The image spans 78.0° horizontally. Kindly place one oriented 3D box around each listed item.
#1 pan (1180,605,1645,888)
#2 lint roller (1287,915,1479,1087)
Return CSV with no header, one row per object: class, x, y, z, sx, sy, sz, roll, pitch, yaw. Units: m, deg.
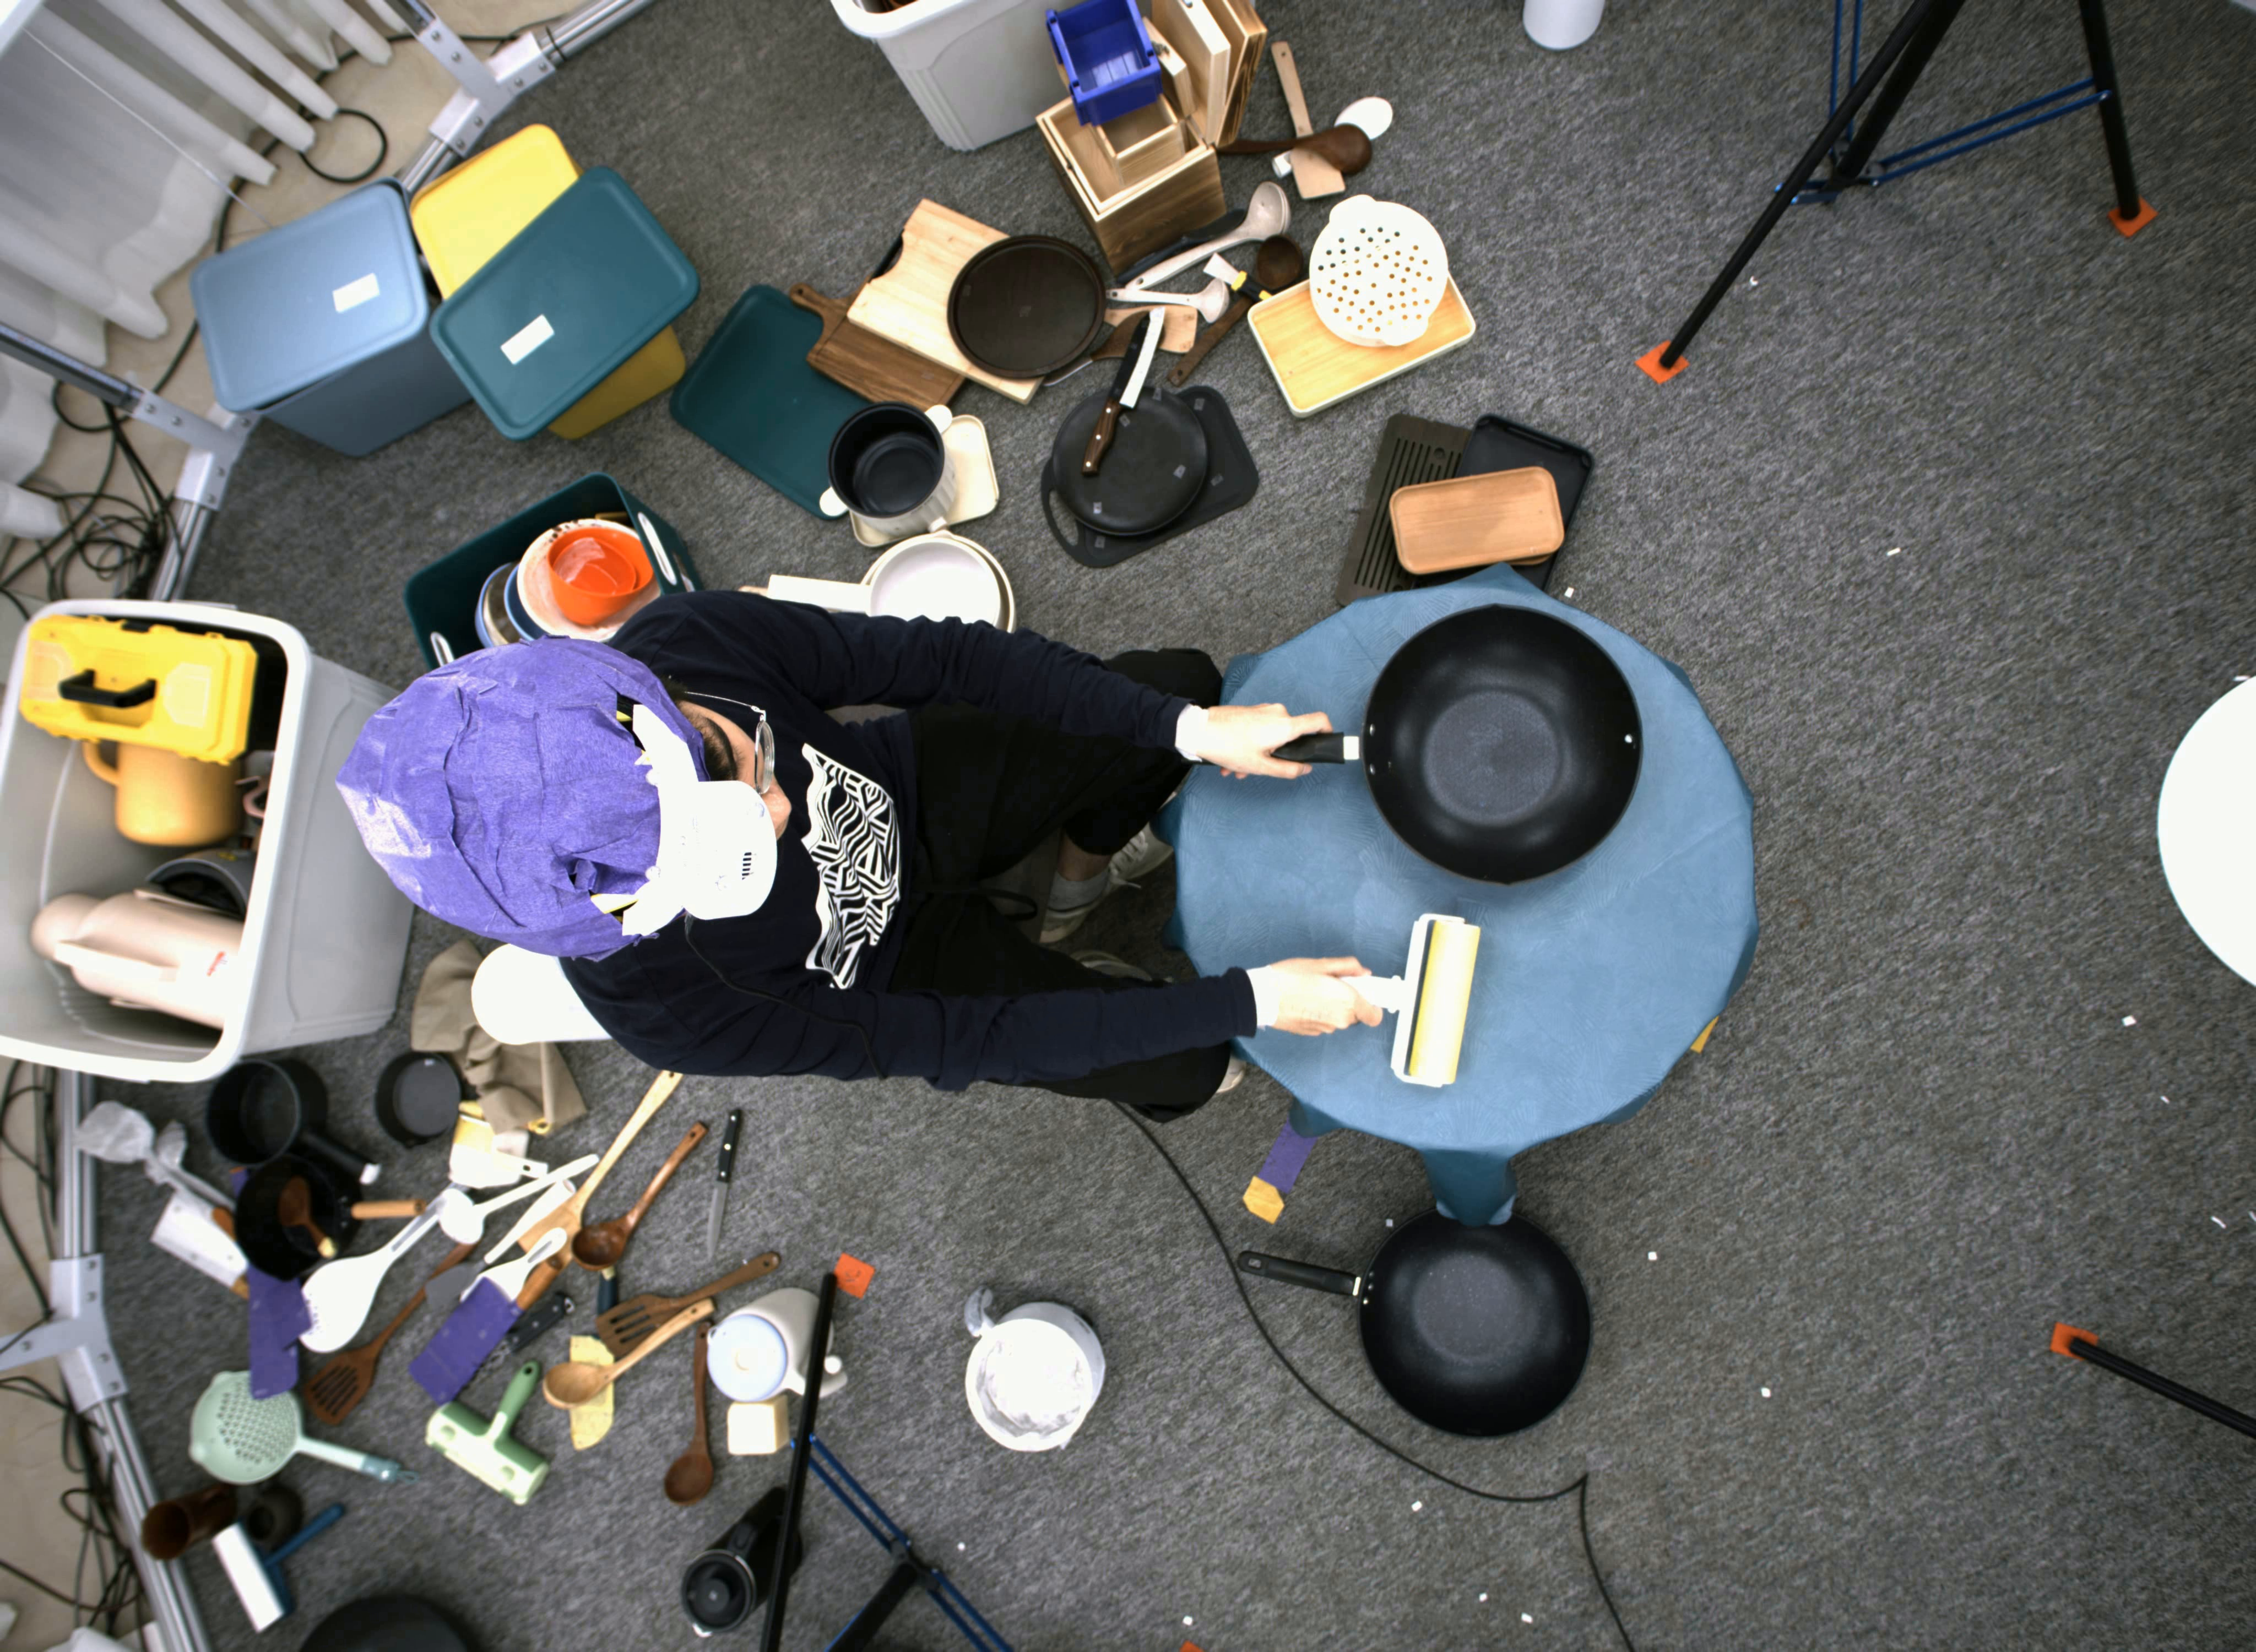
pan,0.287,-0.077,1.421,0.465,0.087,0.286,-1,86,10
lint roller,0.257,0.169,1.392,0.192,0.051,0.174,7,93,-18
